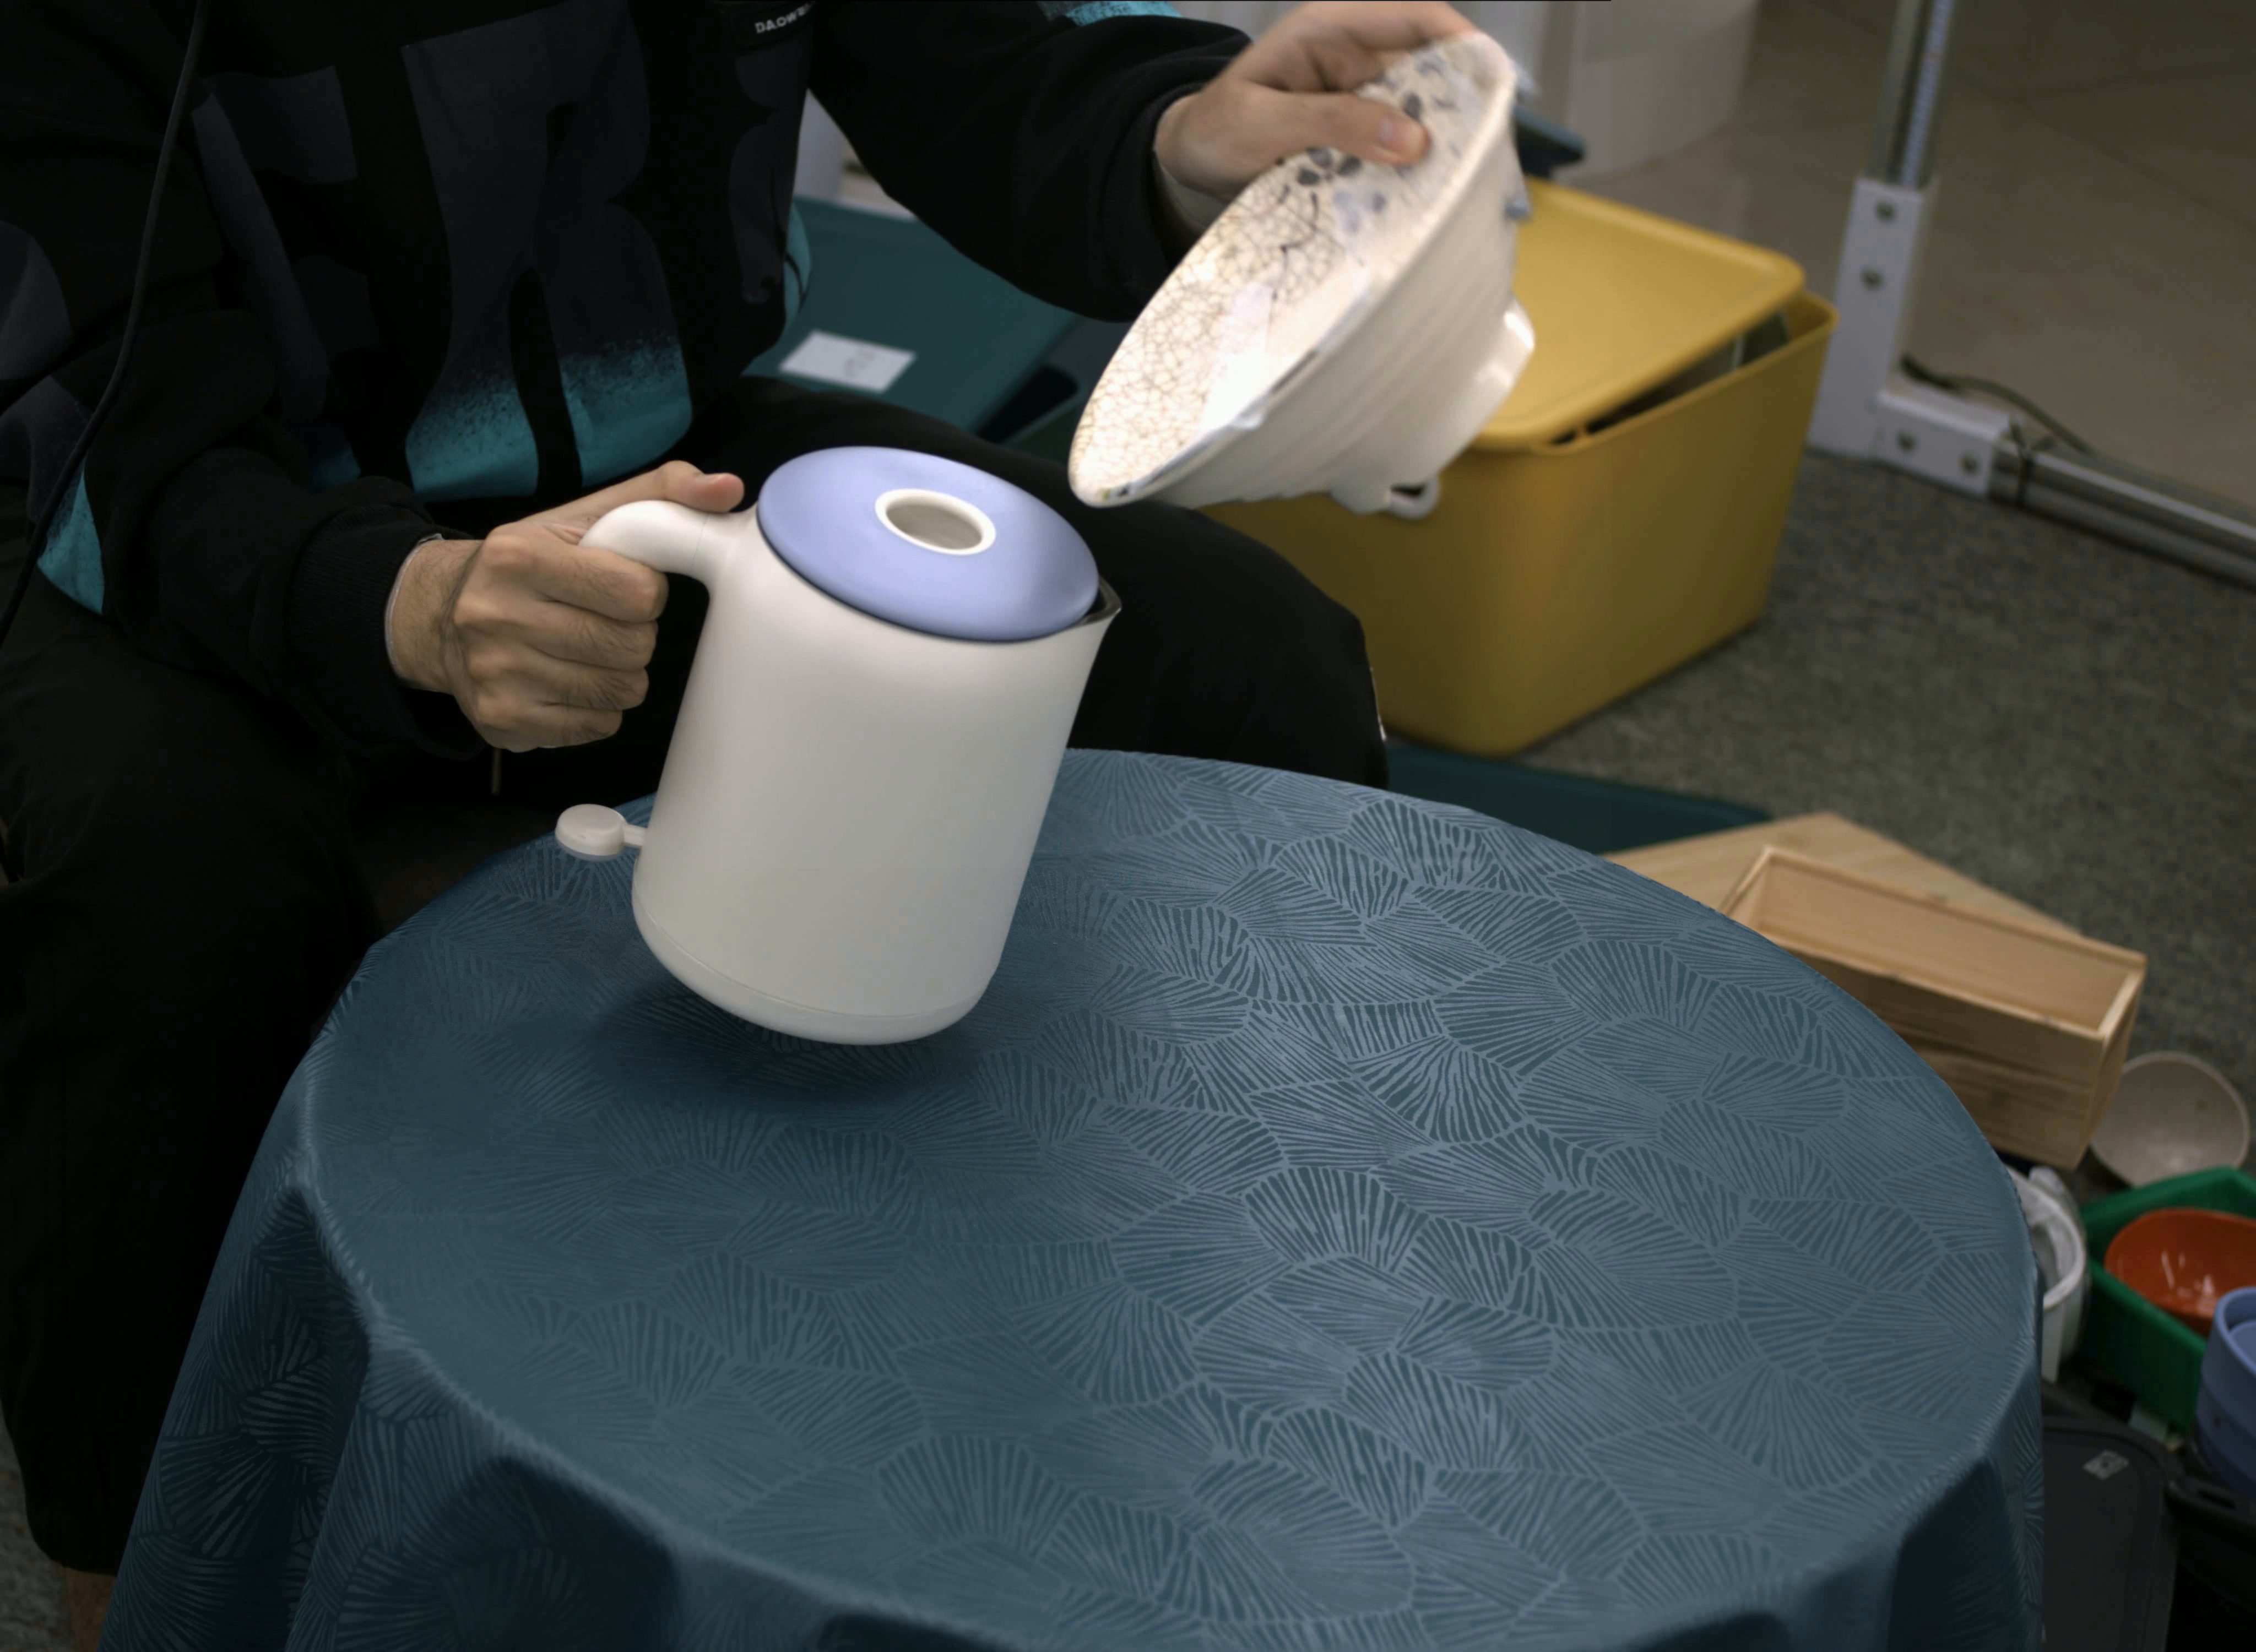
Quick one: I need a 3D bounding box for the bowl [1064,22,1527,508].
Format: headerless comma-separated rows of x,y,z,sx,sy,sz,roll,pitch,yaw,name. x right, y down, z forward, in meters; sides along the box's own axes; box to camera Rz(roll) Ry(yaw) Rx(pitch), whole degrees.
0.074,-0.162,1.746,0.077,0.204,0.205,40,23,-13,bowl

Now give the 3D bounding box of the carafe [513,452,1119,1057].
-0.112,-0.030,1.818,0.190,0.182,0.133,11,27,-4,carafe
